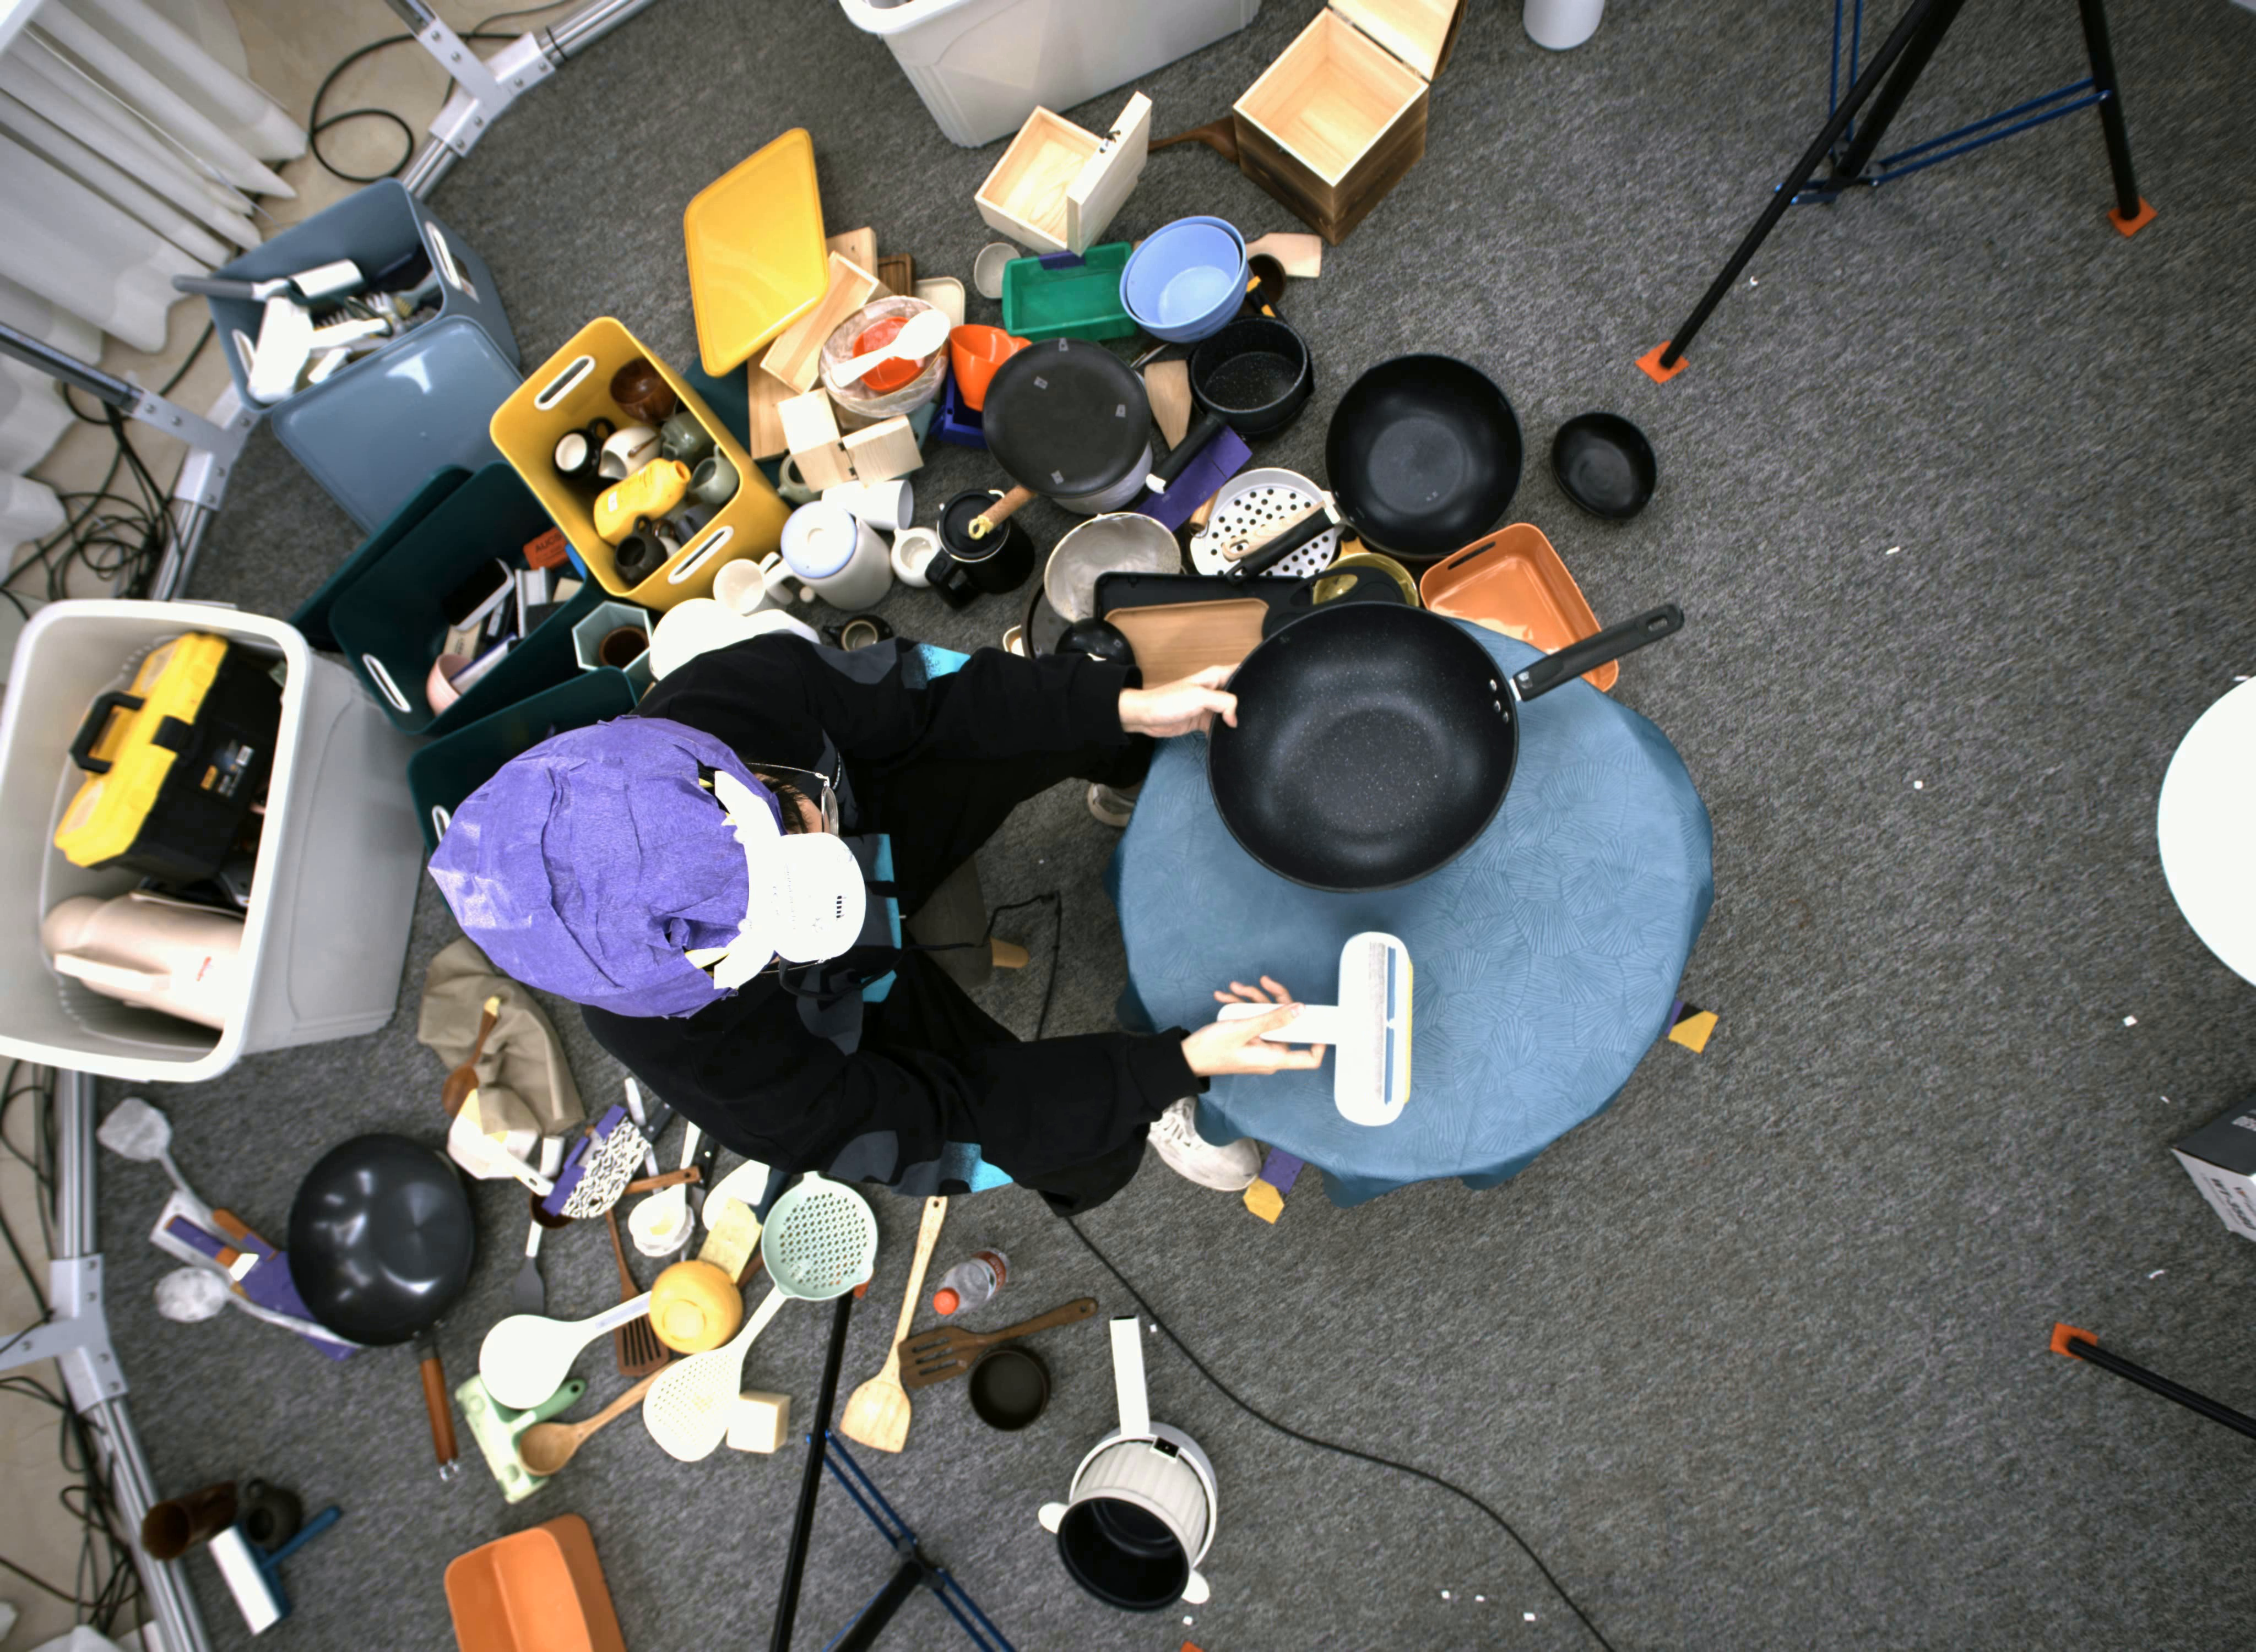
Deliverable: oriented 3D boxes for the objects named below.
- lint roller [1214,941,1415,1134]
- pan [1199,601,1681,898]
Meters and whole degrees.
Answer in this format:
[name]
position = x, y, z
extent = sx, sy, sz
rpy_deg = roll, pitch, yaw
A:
[lint roller]
position = 0.181, 0.200, 1.376
extent = 0.193, 0.075, 0.190
rpy_deg = 8, 74, 4
[pan]
position = 0.304, -0.101, 1.352
extent = 0.481, 0.112, 0.305
rpy_deg = -20, 69, 14
